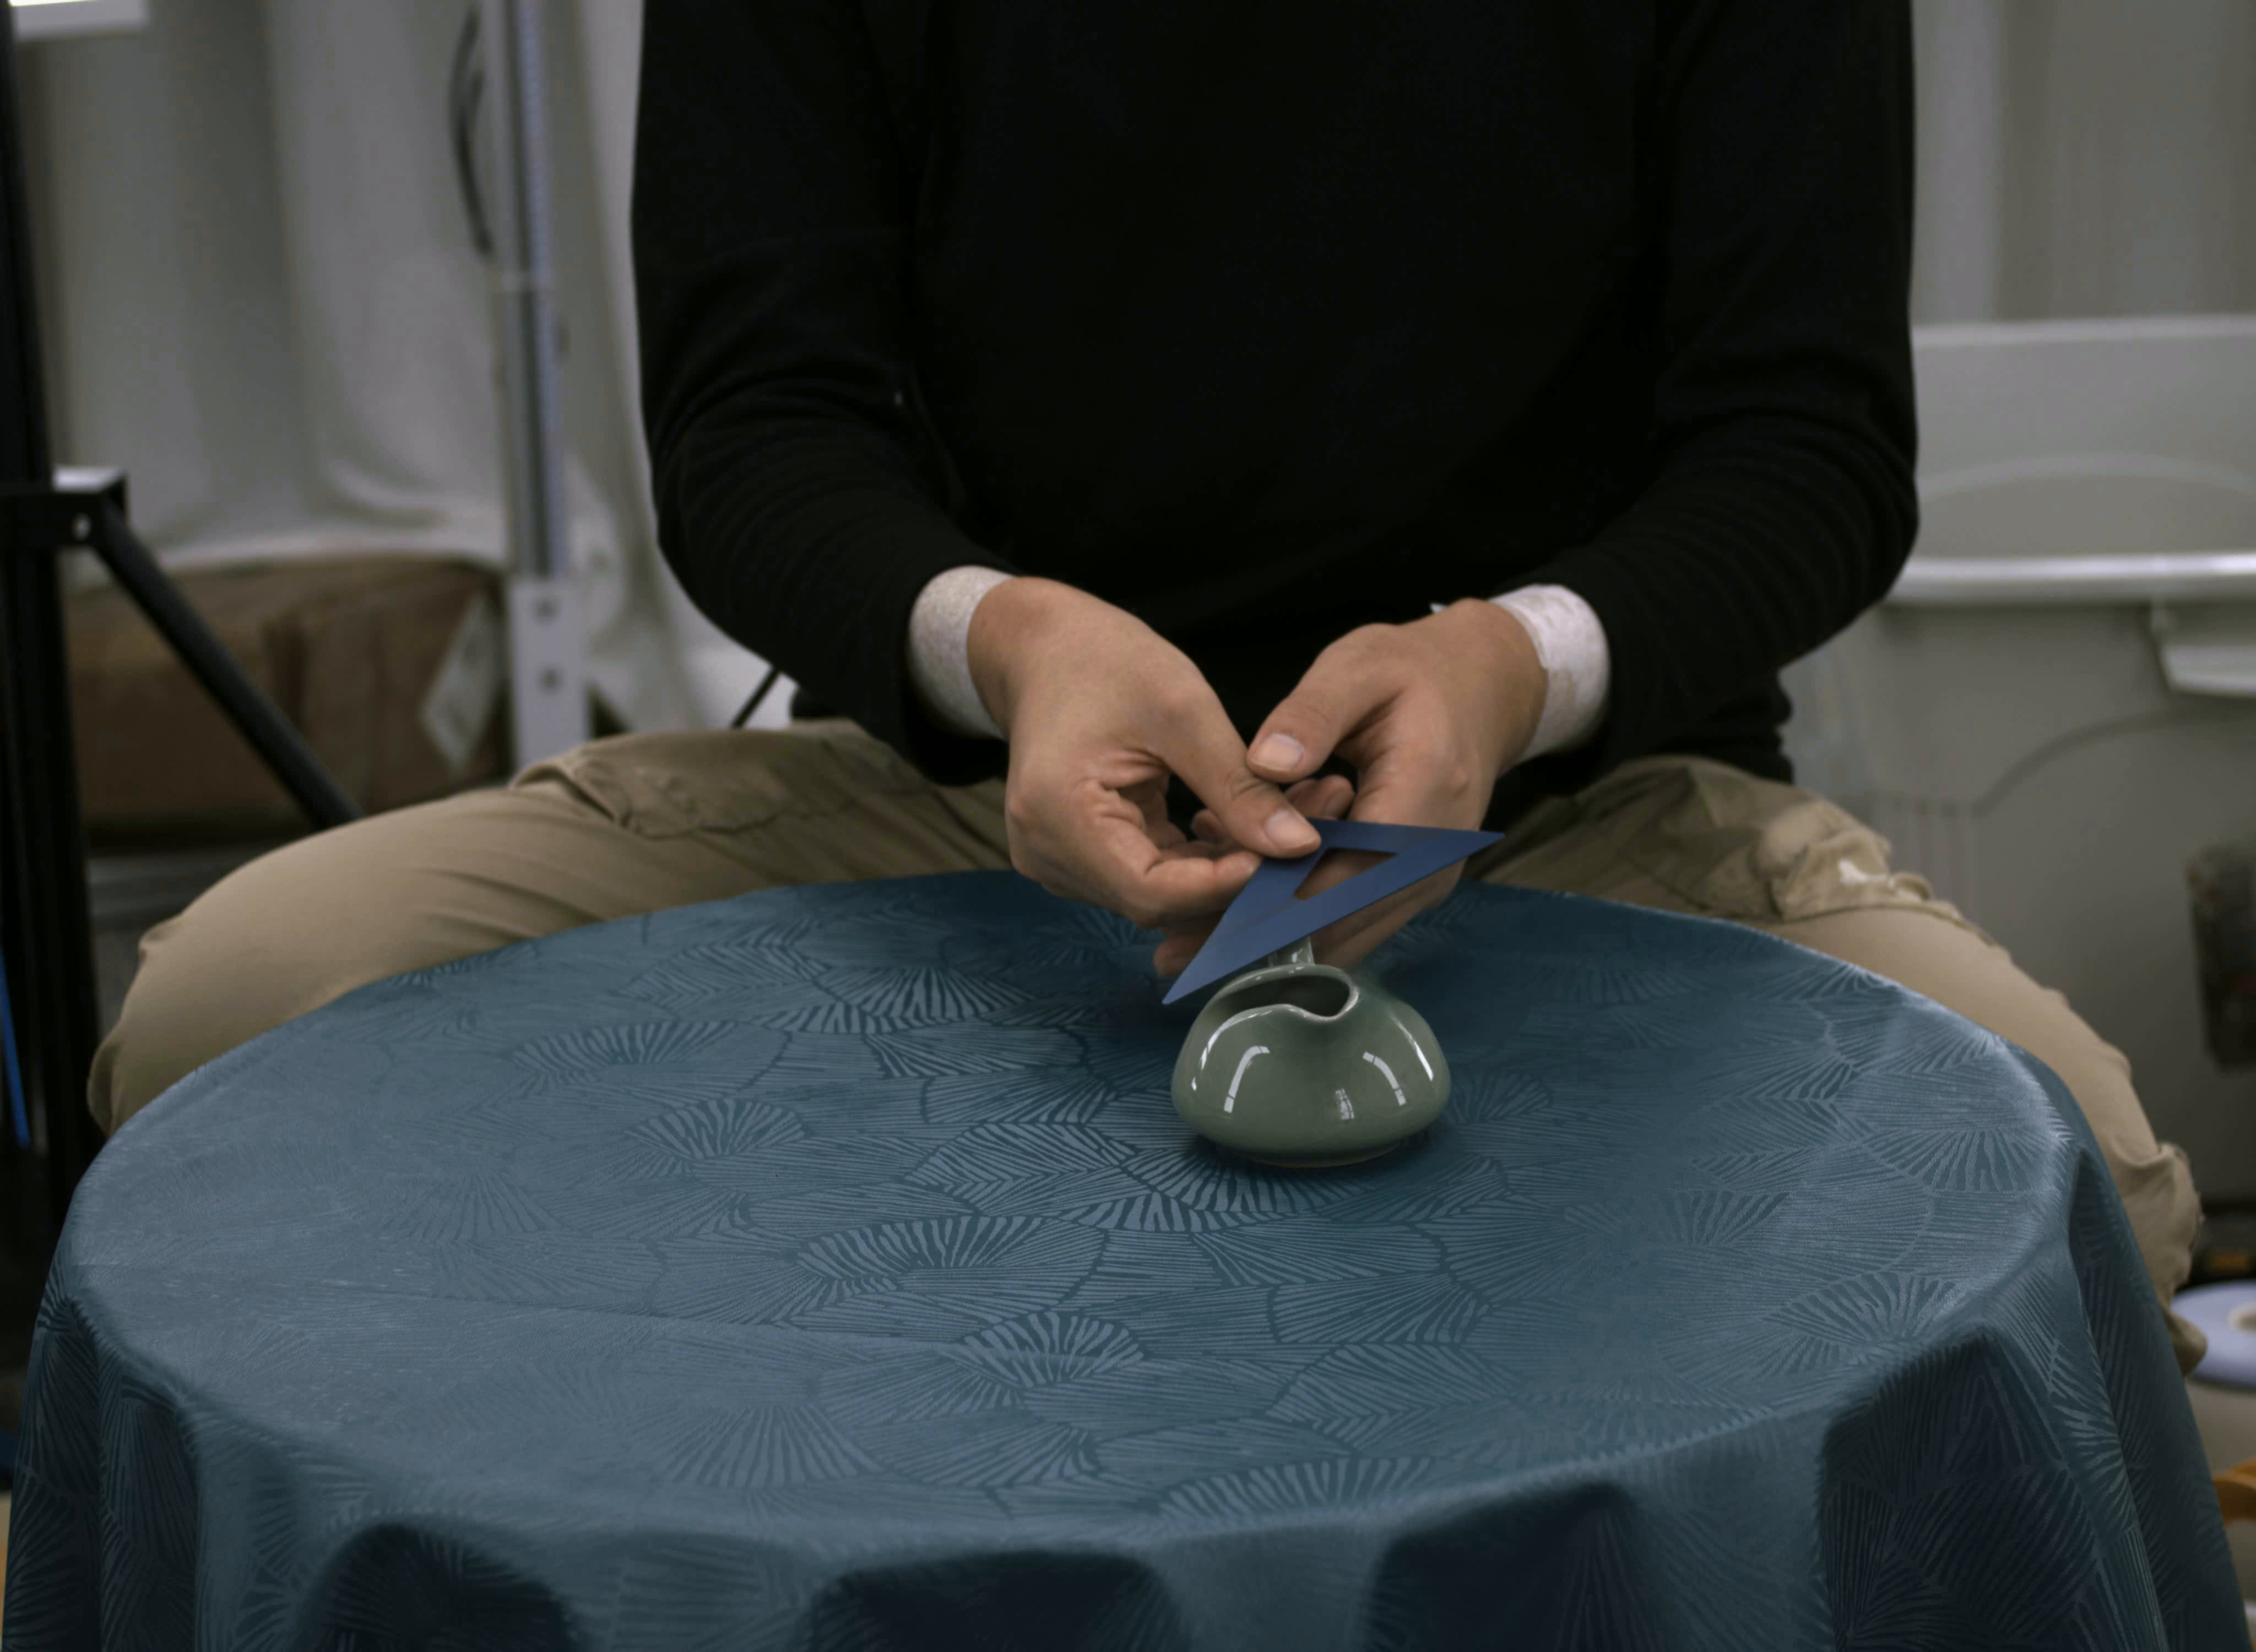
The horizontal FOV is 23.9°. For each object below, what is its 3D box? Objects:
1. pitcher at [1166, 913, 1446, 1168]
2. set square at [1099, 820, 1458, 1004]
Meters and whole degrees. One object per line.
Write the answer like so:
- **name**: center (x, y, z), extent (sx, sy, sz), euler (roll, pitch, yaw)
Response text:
- **pitcher**: center (0.053, 0.066, 1.594), extent (0.083, 0.056, 0.113), euler (-1, 16, -5)
- **set square**: center (0.034, 0.021, 1.642), extent (0.129, 0.006, 0.062), euler (-24, 33, -26)
